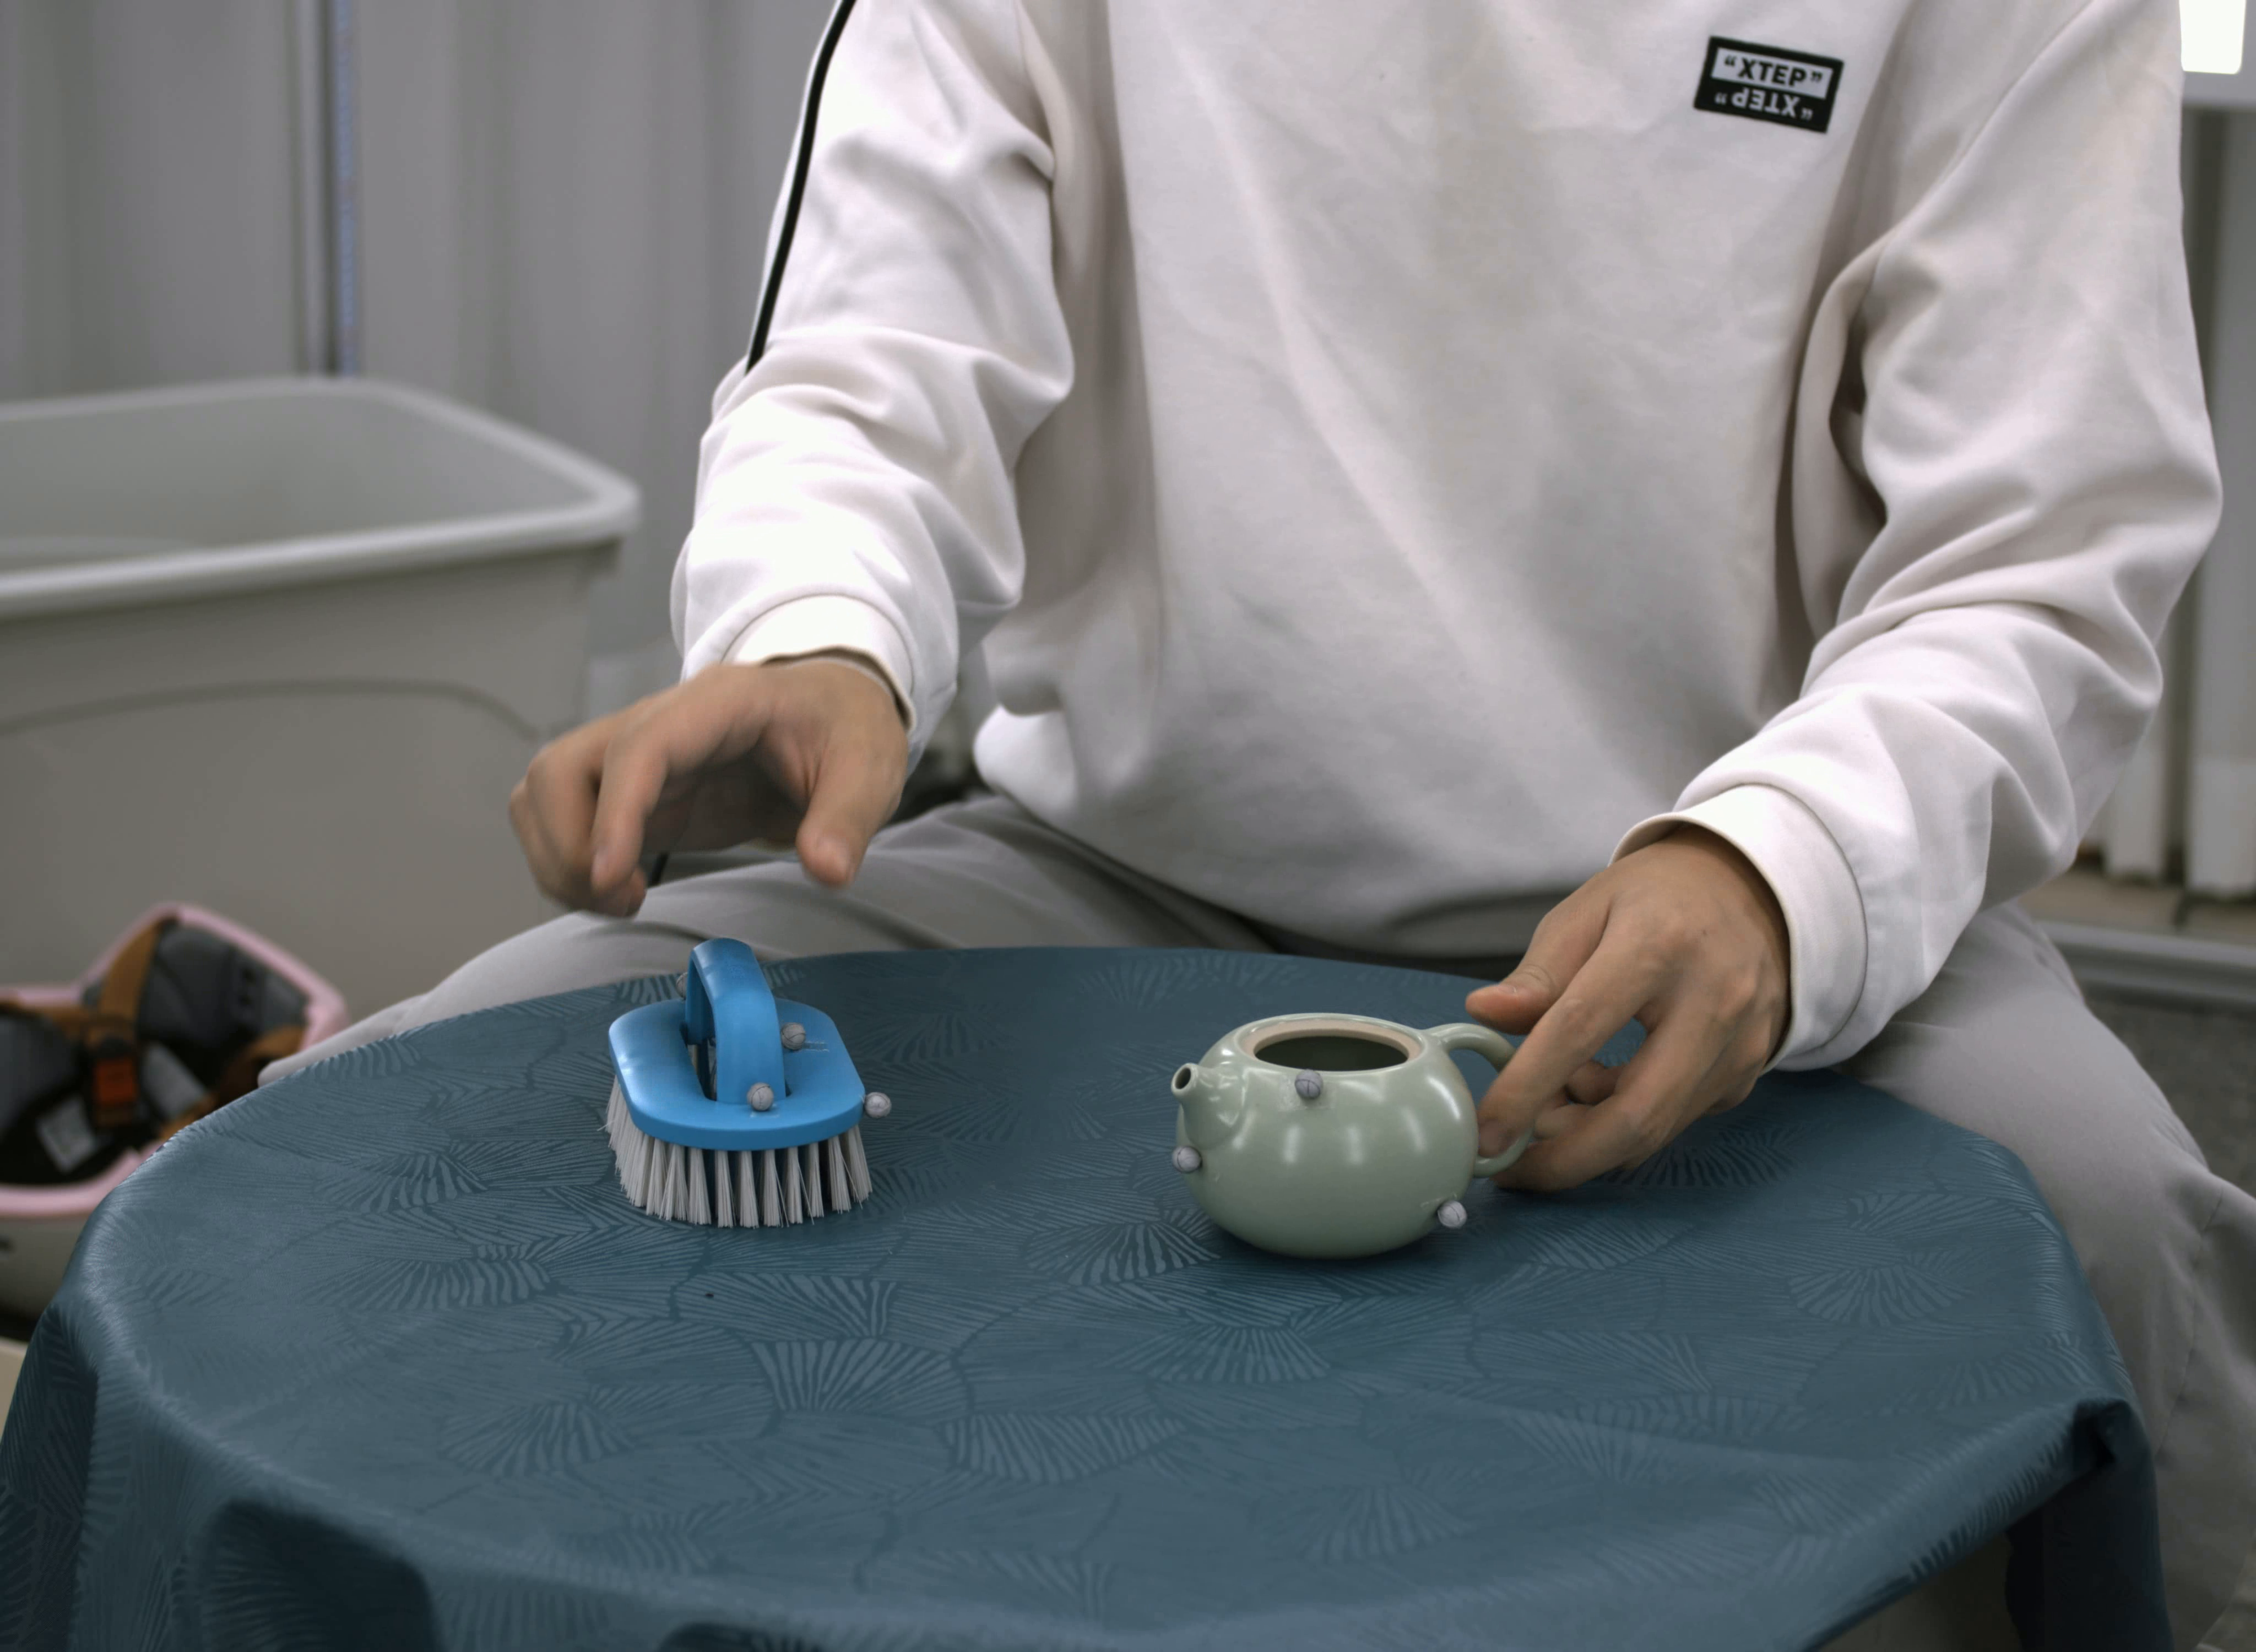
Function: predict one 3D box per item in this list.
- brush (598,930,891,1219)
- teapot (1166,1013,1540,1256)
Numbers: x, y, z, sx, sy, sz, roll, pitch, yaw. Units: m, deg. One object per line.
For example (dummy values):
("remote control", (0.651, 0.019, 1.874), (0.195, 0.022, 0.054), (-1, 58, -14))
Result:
("brush", (-0.123, 0.071, 1.647), (0.084, 0.064, 0.140), (-7, 17, -9))
("teapot", (0.069, 0.092, 1.594), (0.129, 0.061, 0.090), (-6, 15, -26))
